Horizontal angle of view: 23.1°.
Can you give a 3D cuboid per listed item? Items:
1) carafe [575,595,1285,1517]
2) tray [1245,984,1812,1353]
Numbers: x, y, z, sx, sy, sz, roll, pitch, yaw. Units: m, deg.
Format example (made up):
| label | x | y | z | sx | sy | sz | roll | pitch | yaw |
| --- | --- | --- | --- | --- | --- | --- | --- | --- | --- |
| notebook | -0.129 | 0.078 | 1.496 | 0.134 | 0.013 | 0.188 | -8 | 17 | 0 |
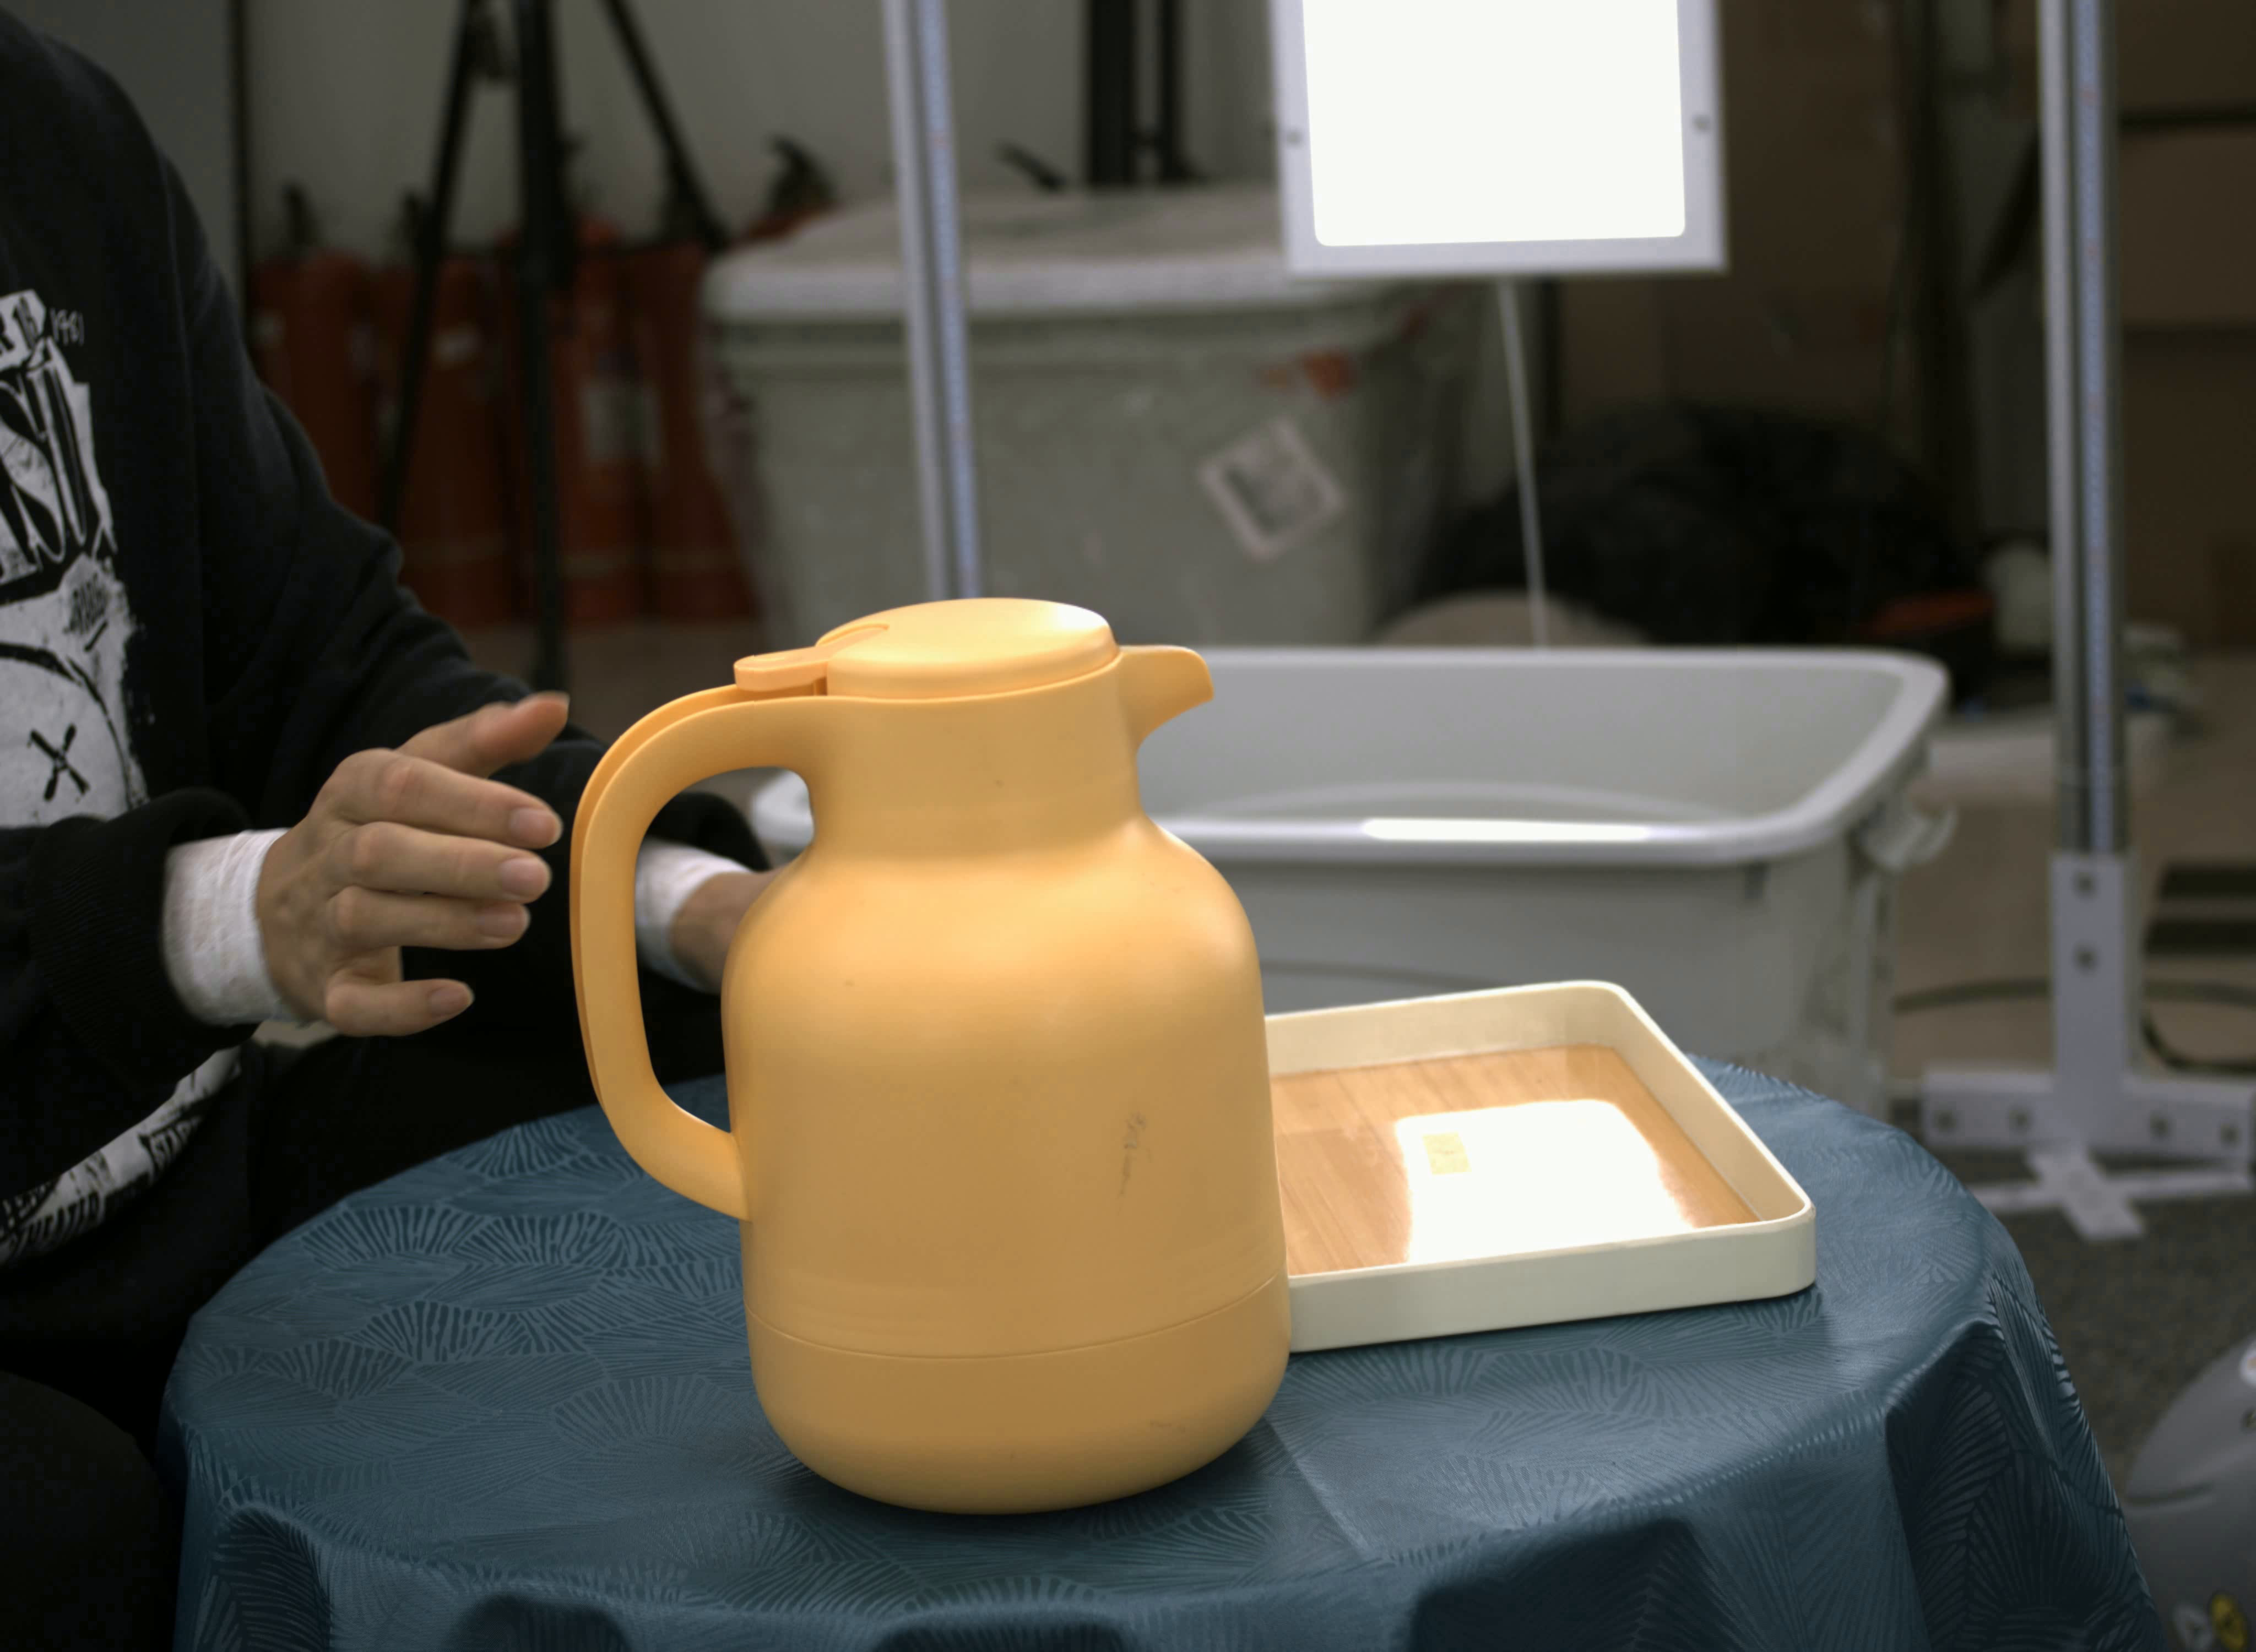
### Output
| label | x | y | z | sx | sy | sz | roll | pitch | yaw |
| --- | --- | --- | --- | --- | --- | --- | --- | --- | --- |
| carafe | -0.059 | 0.065 | 1.626 | 0.200 | 0.261 | 0.164 | -6 | 11 | -8 |
| tray | 0.107 | 0.112 | 1.864 | 0.190 | 0.027 | 0.301 | -6 | 14 | -6 |
